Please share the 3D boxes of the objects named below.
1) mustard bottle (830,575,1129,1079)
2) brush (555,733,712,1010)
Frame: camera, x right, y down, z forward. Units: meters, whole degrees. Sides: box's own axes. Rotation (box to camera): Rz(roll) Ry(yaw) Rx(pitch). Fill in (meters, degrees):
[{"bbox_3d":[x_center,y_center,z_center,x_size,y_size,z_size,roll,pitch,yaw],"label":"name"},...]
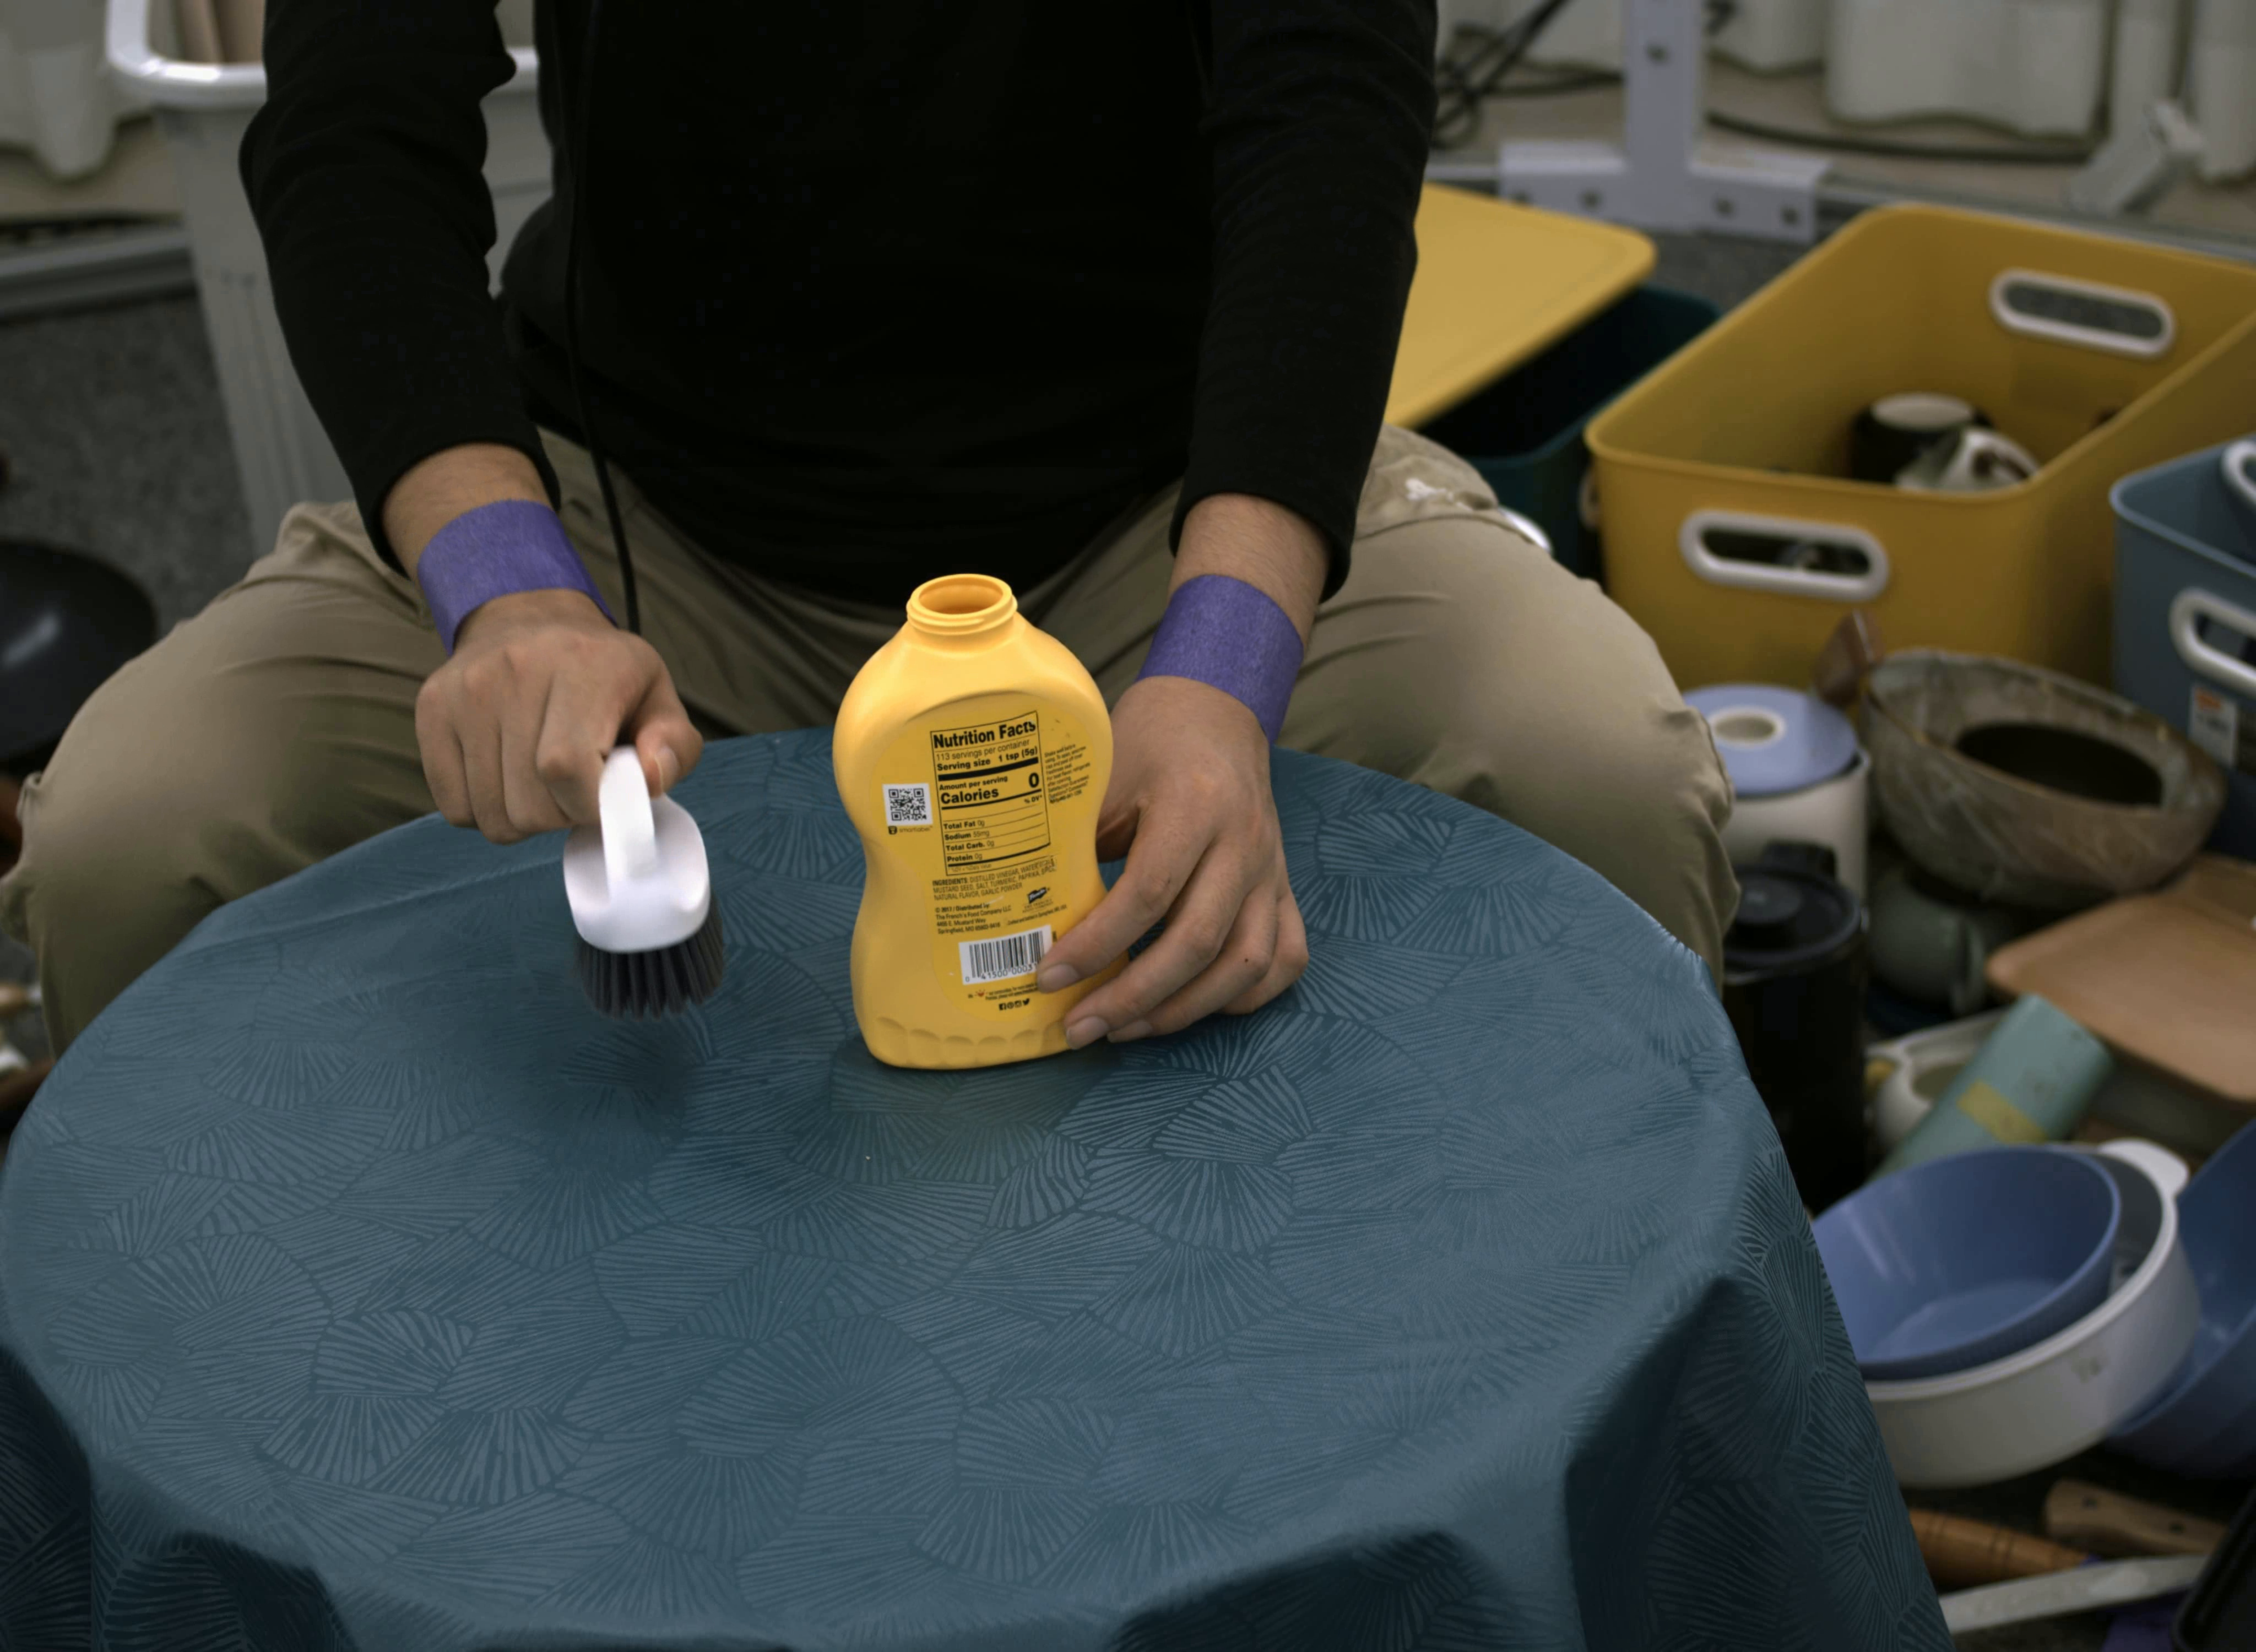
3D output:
[{"bbox_3d":[-0.053,-0.001,1.923,0.098,0.170,0.060,-11,24,-12],"label":"mustard bottle"},{"bbox_3d":[-0.171,0.009,1.915,0.050,0.072,0.100,-7,26,-3],"label":"brush"}]
